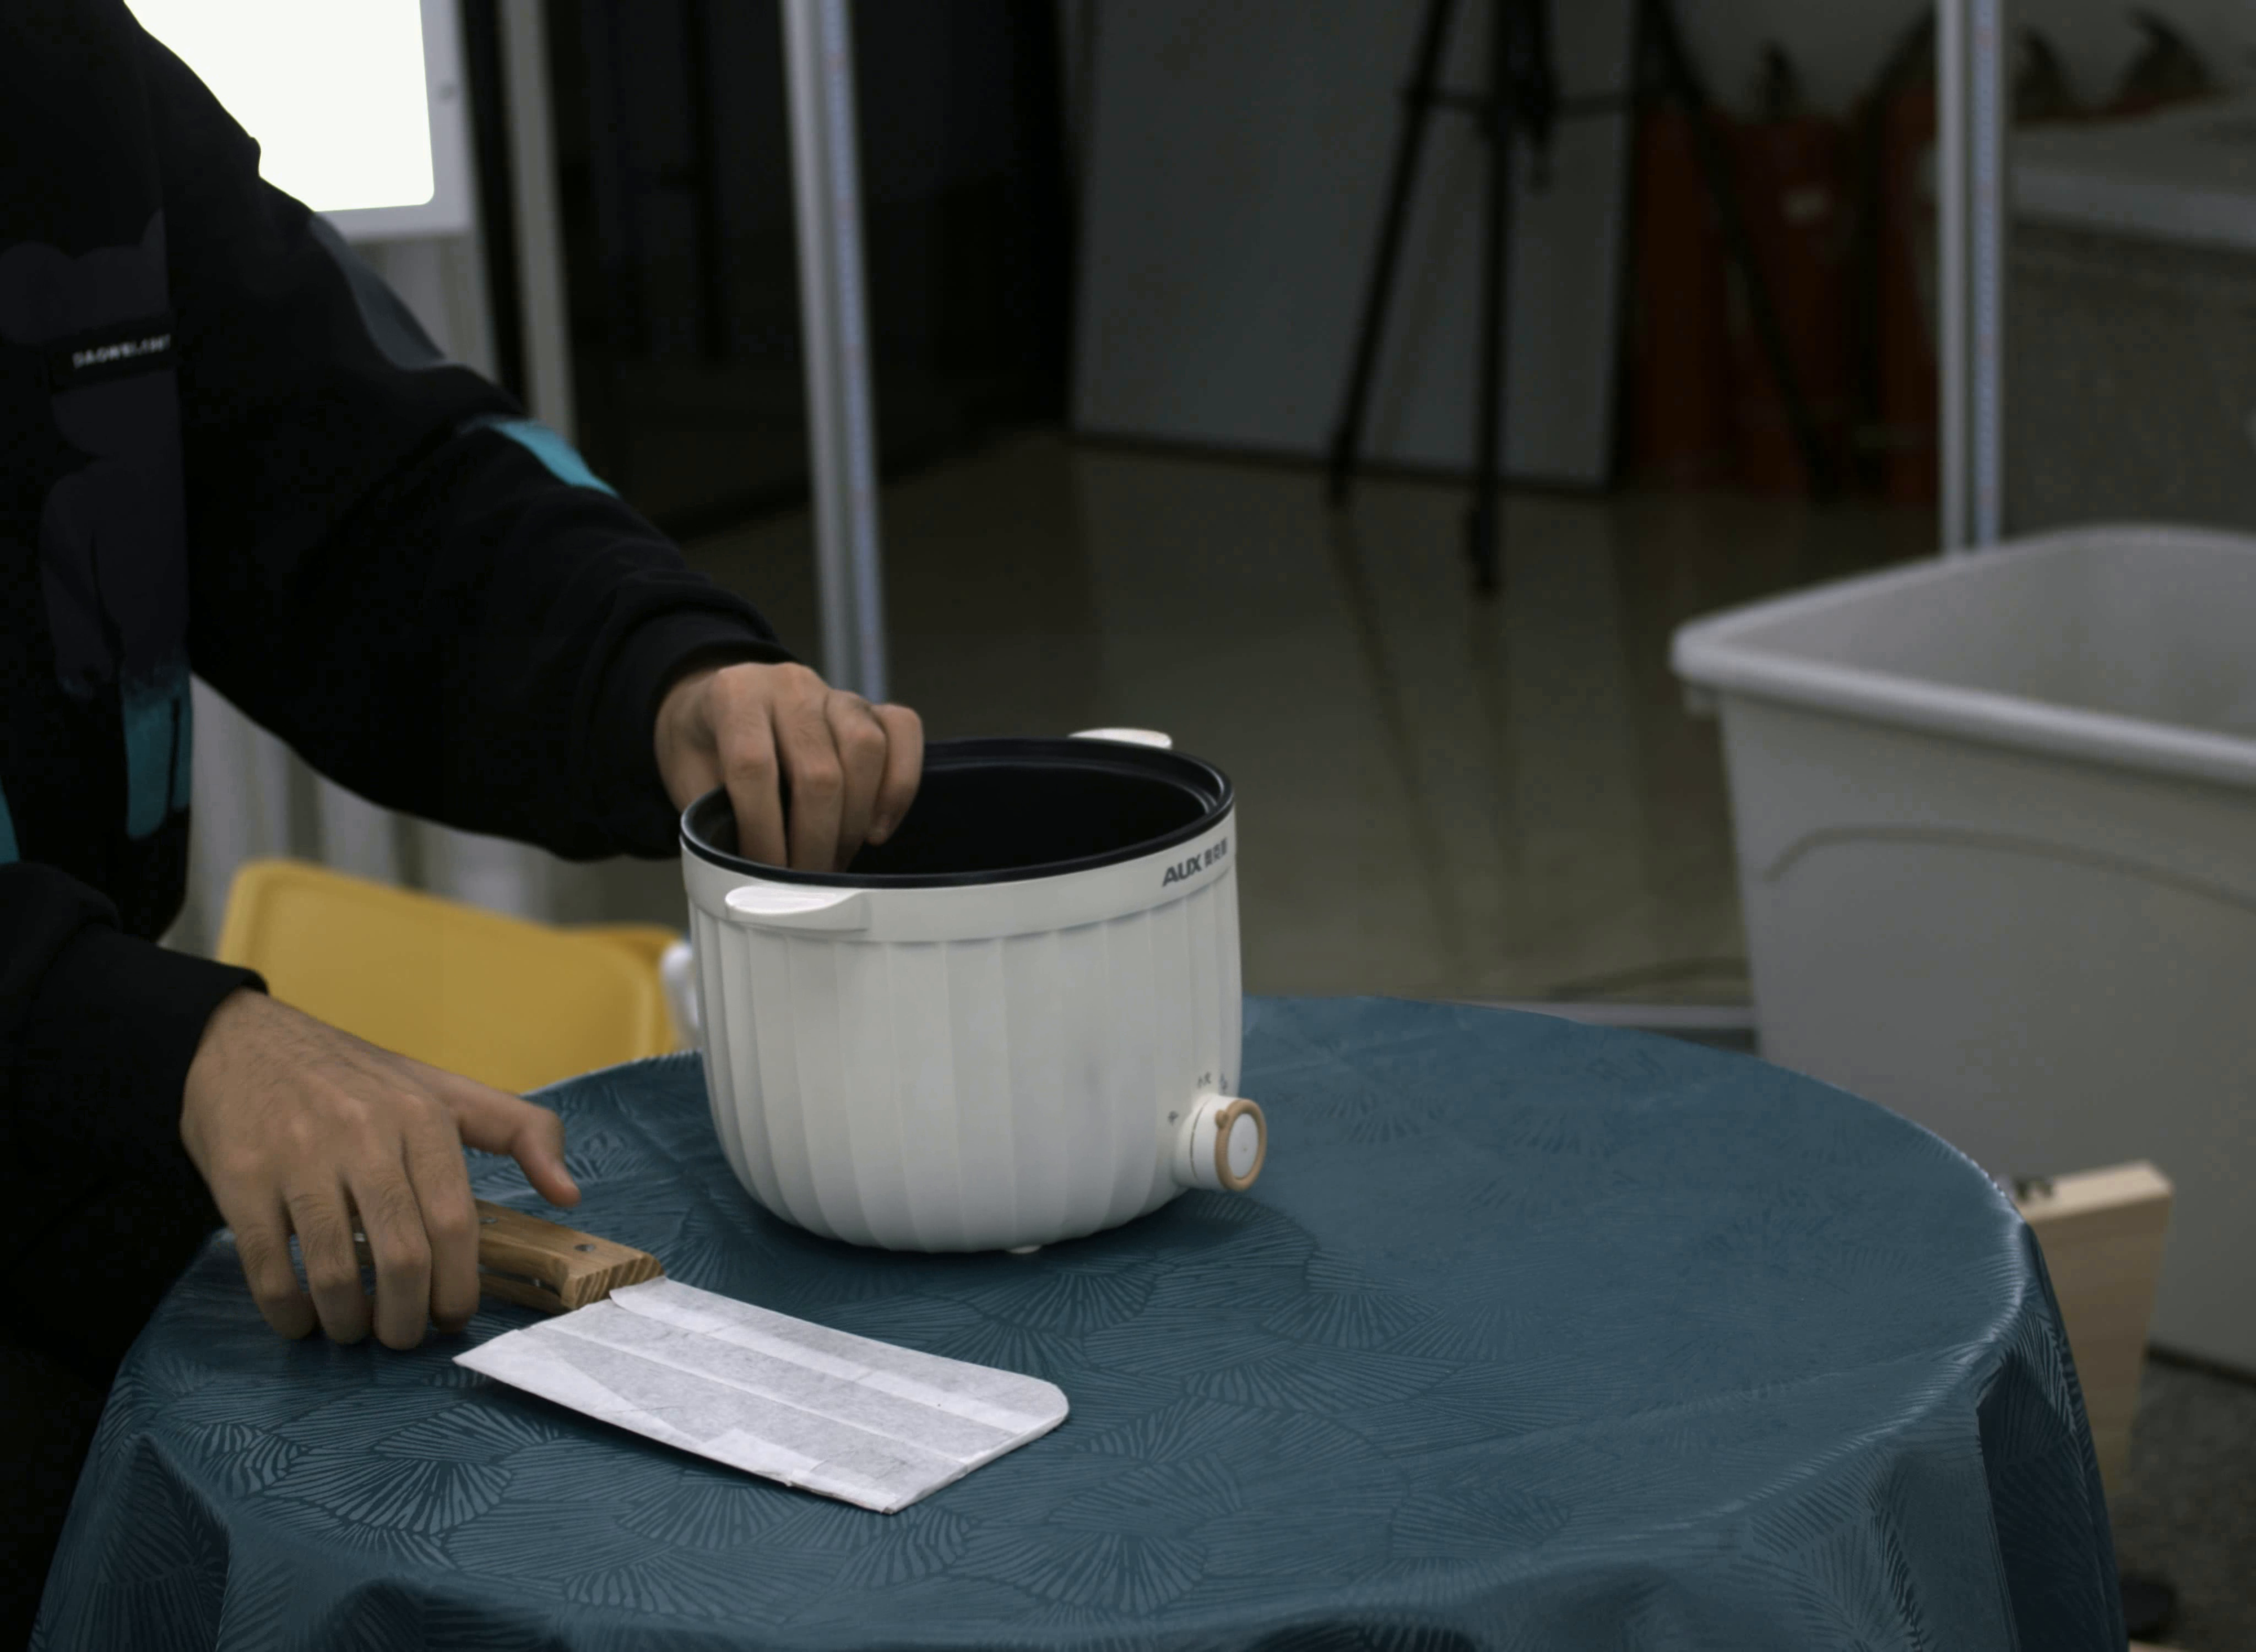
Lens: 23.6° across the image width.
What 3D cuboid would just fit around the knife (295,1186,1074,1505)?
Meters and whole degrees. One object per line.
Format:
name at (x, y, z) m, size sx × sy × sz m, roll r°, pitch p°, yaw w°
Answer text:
knife at (-0.146, 0.155, 1.640) m, size 0.111 × 0.022 × 0.318 m, roll -17°, pitch 21°, yaw -41°

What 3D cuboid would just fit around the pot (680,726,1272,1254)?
pot at (-0.045, 0.056, 1.756) m, size 0.191 × 0.144 × 0.237 m, roll 1°, pitch 15°, yaw 32°
